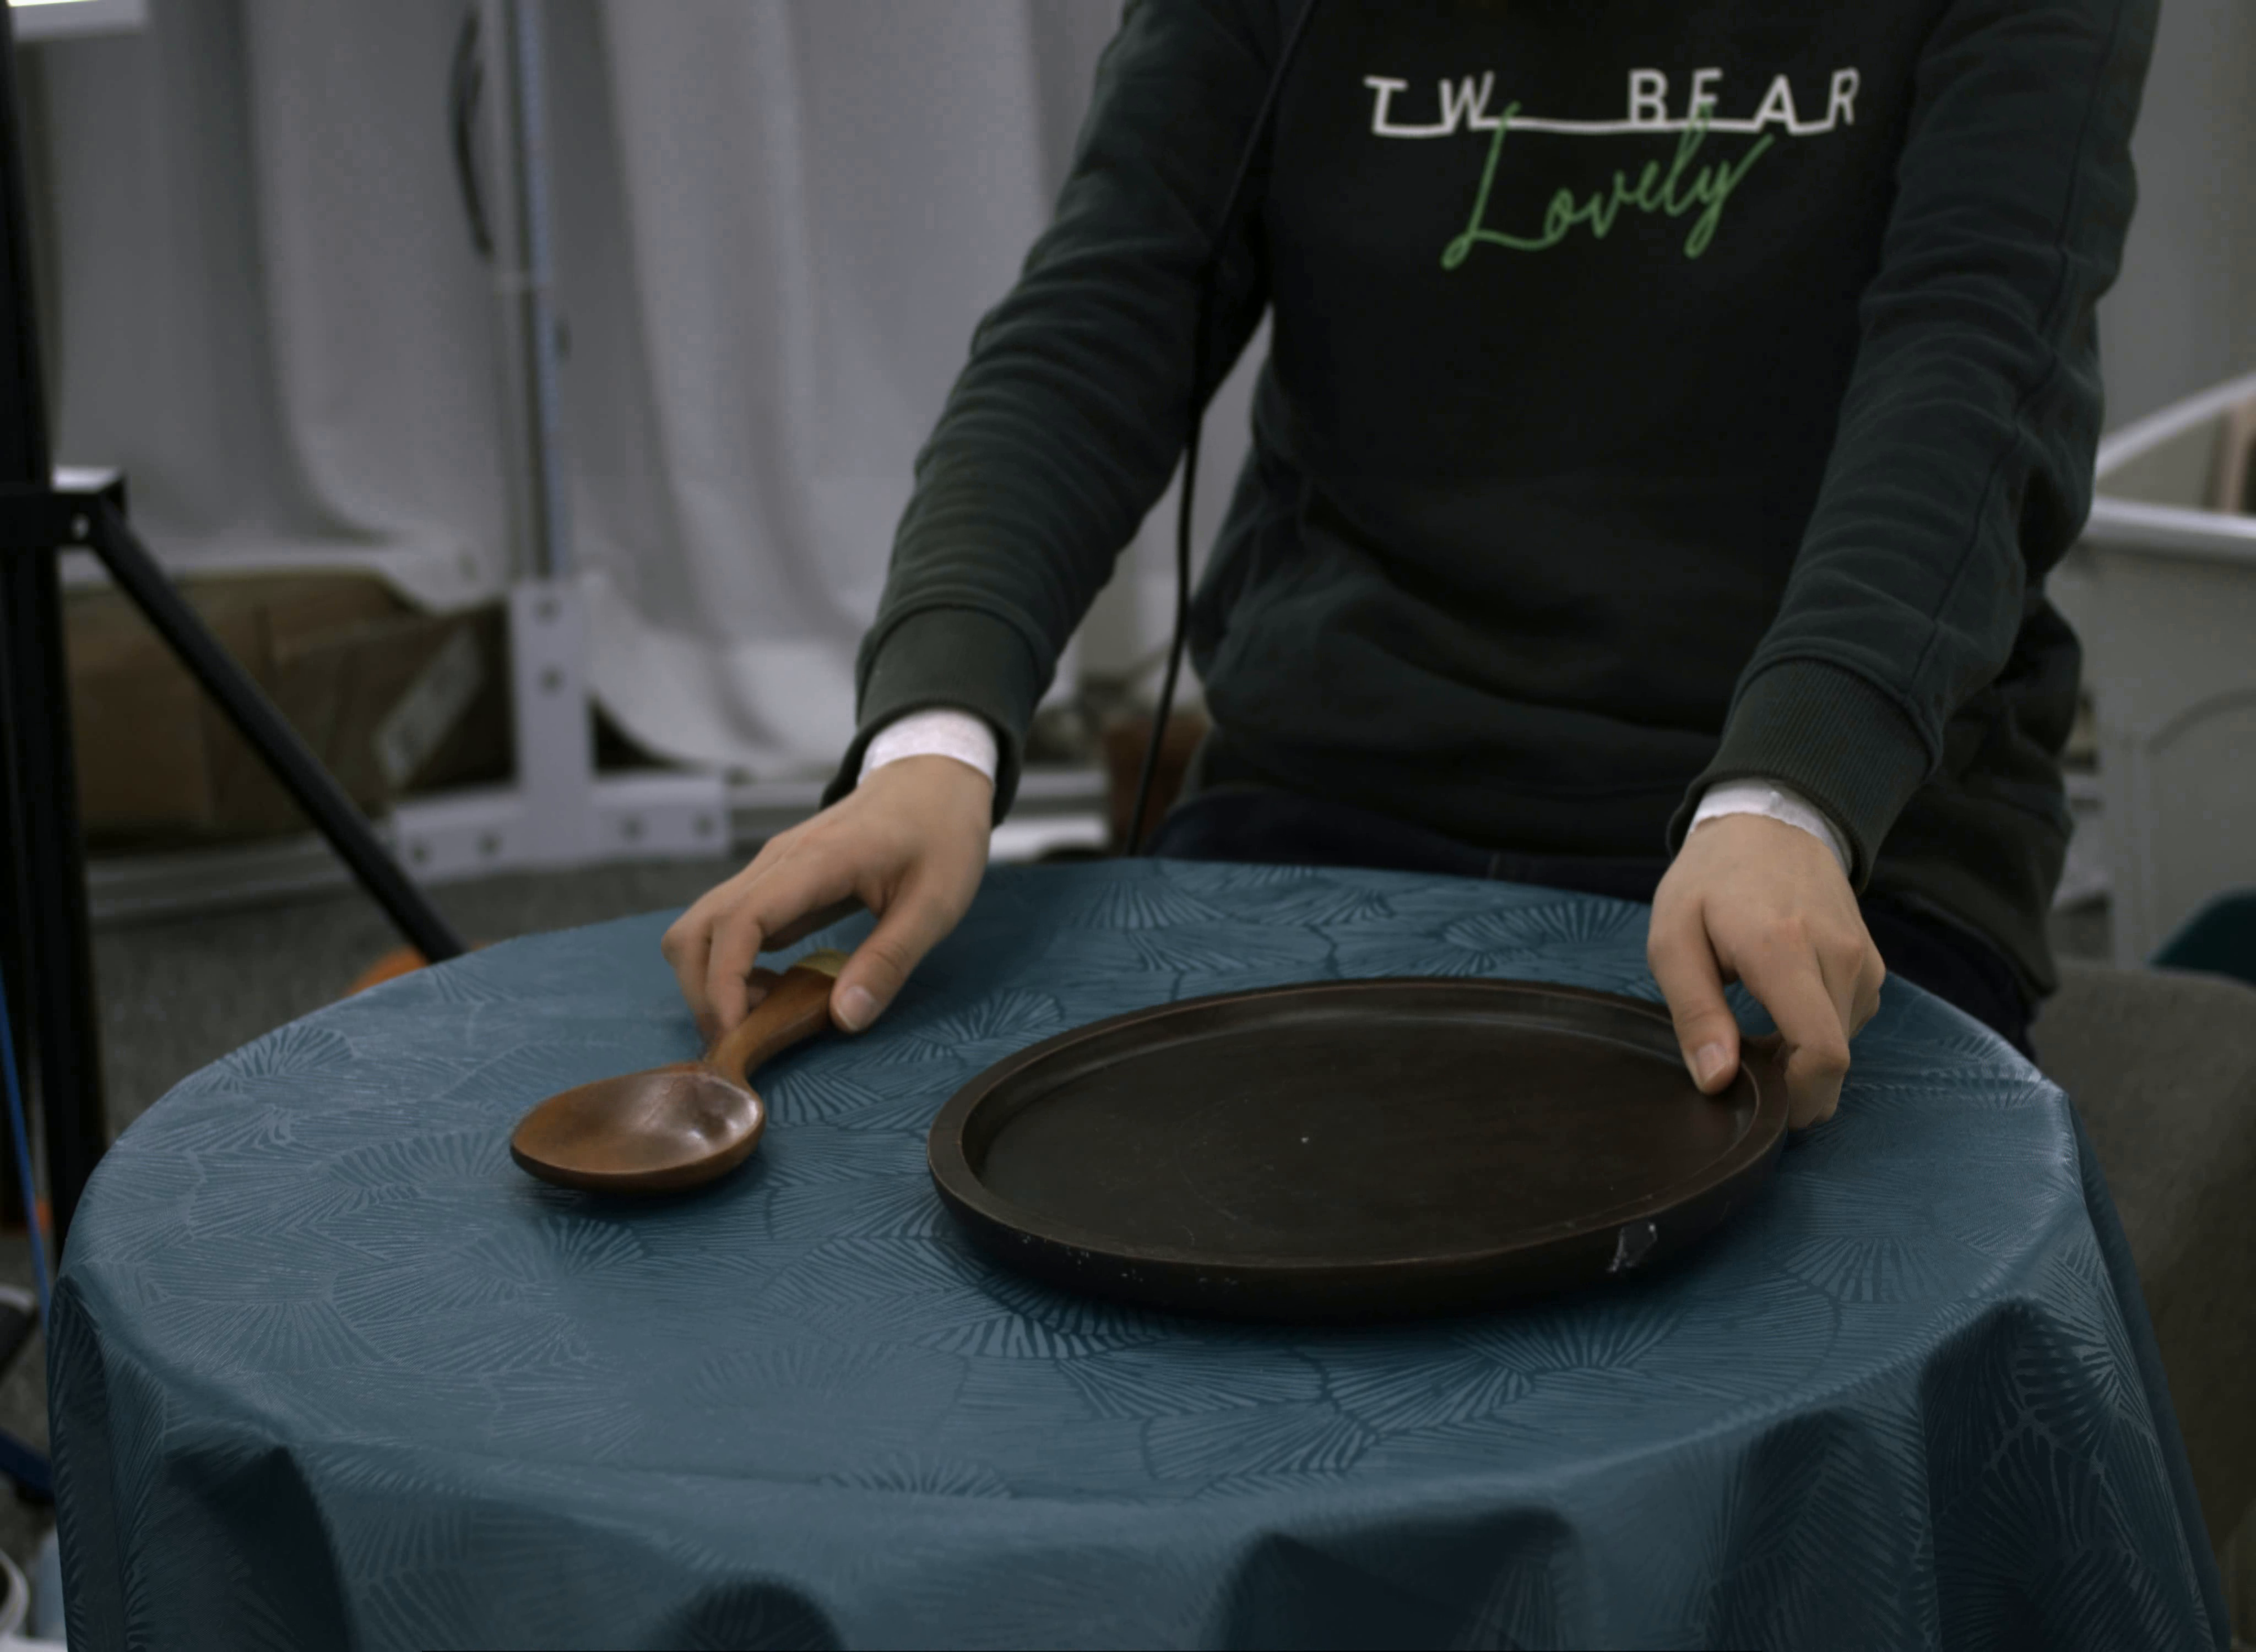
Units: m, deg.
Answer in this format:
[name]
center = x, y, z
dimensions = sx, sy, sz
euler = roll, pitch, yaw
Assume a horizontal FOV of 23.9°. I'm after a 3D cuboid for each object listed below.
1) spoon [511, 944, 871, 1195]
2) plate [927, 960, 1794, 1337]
[spoon]
center = -0.125, 0.077, 1.654
dimensions = 0.076, 0.017, 0.213
euler = 4, 18, 18
[plate]
center = 0.067, 0.094, 1.545
dimensions = 0.253, 0.029, 0.256
euler = -5, 17, 0
